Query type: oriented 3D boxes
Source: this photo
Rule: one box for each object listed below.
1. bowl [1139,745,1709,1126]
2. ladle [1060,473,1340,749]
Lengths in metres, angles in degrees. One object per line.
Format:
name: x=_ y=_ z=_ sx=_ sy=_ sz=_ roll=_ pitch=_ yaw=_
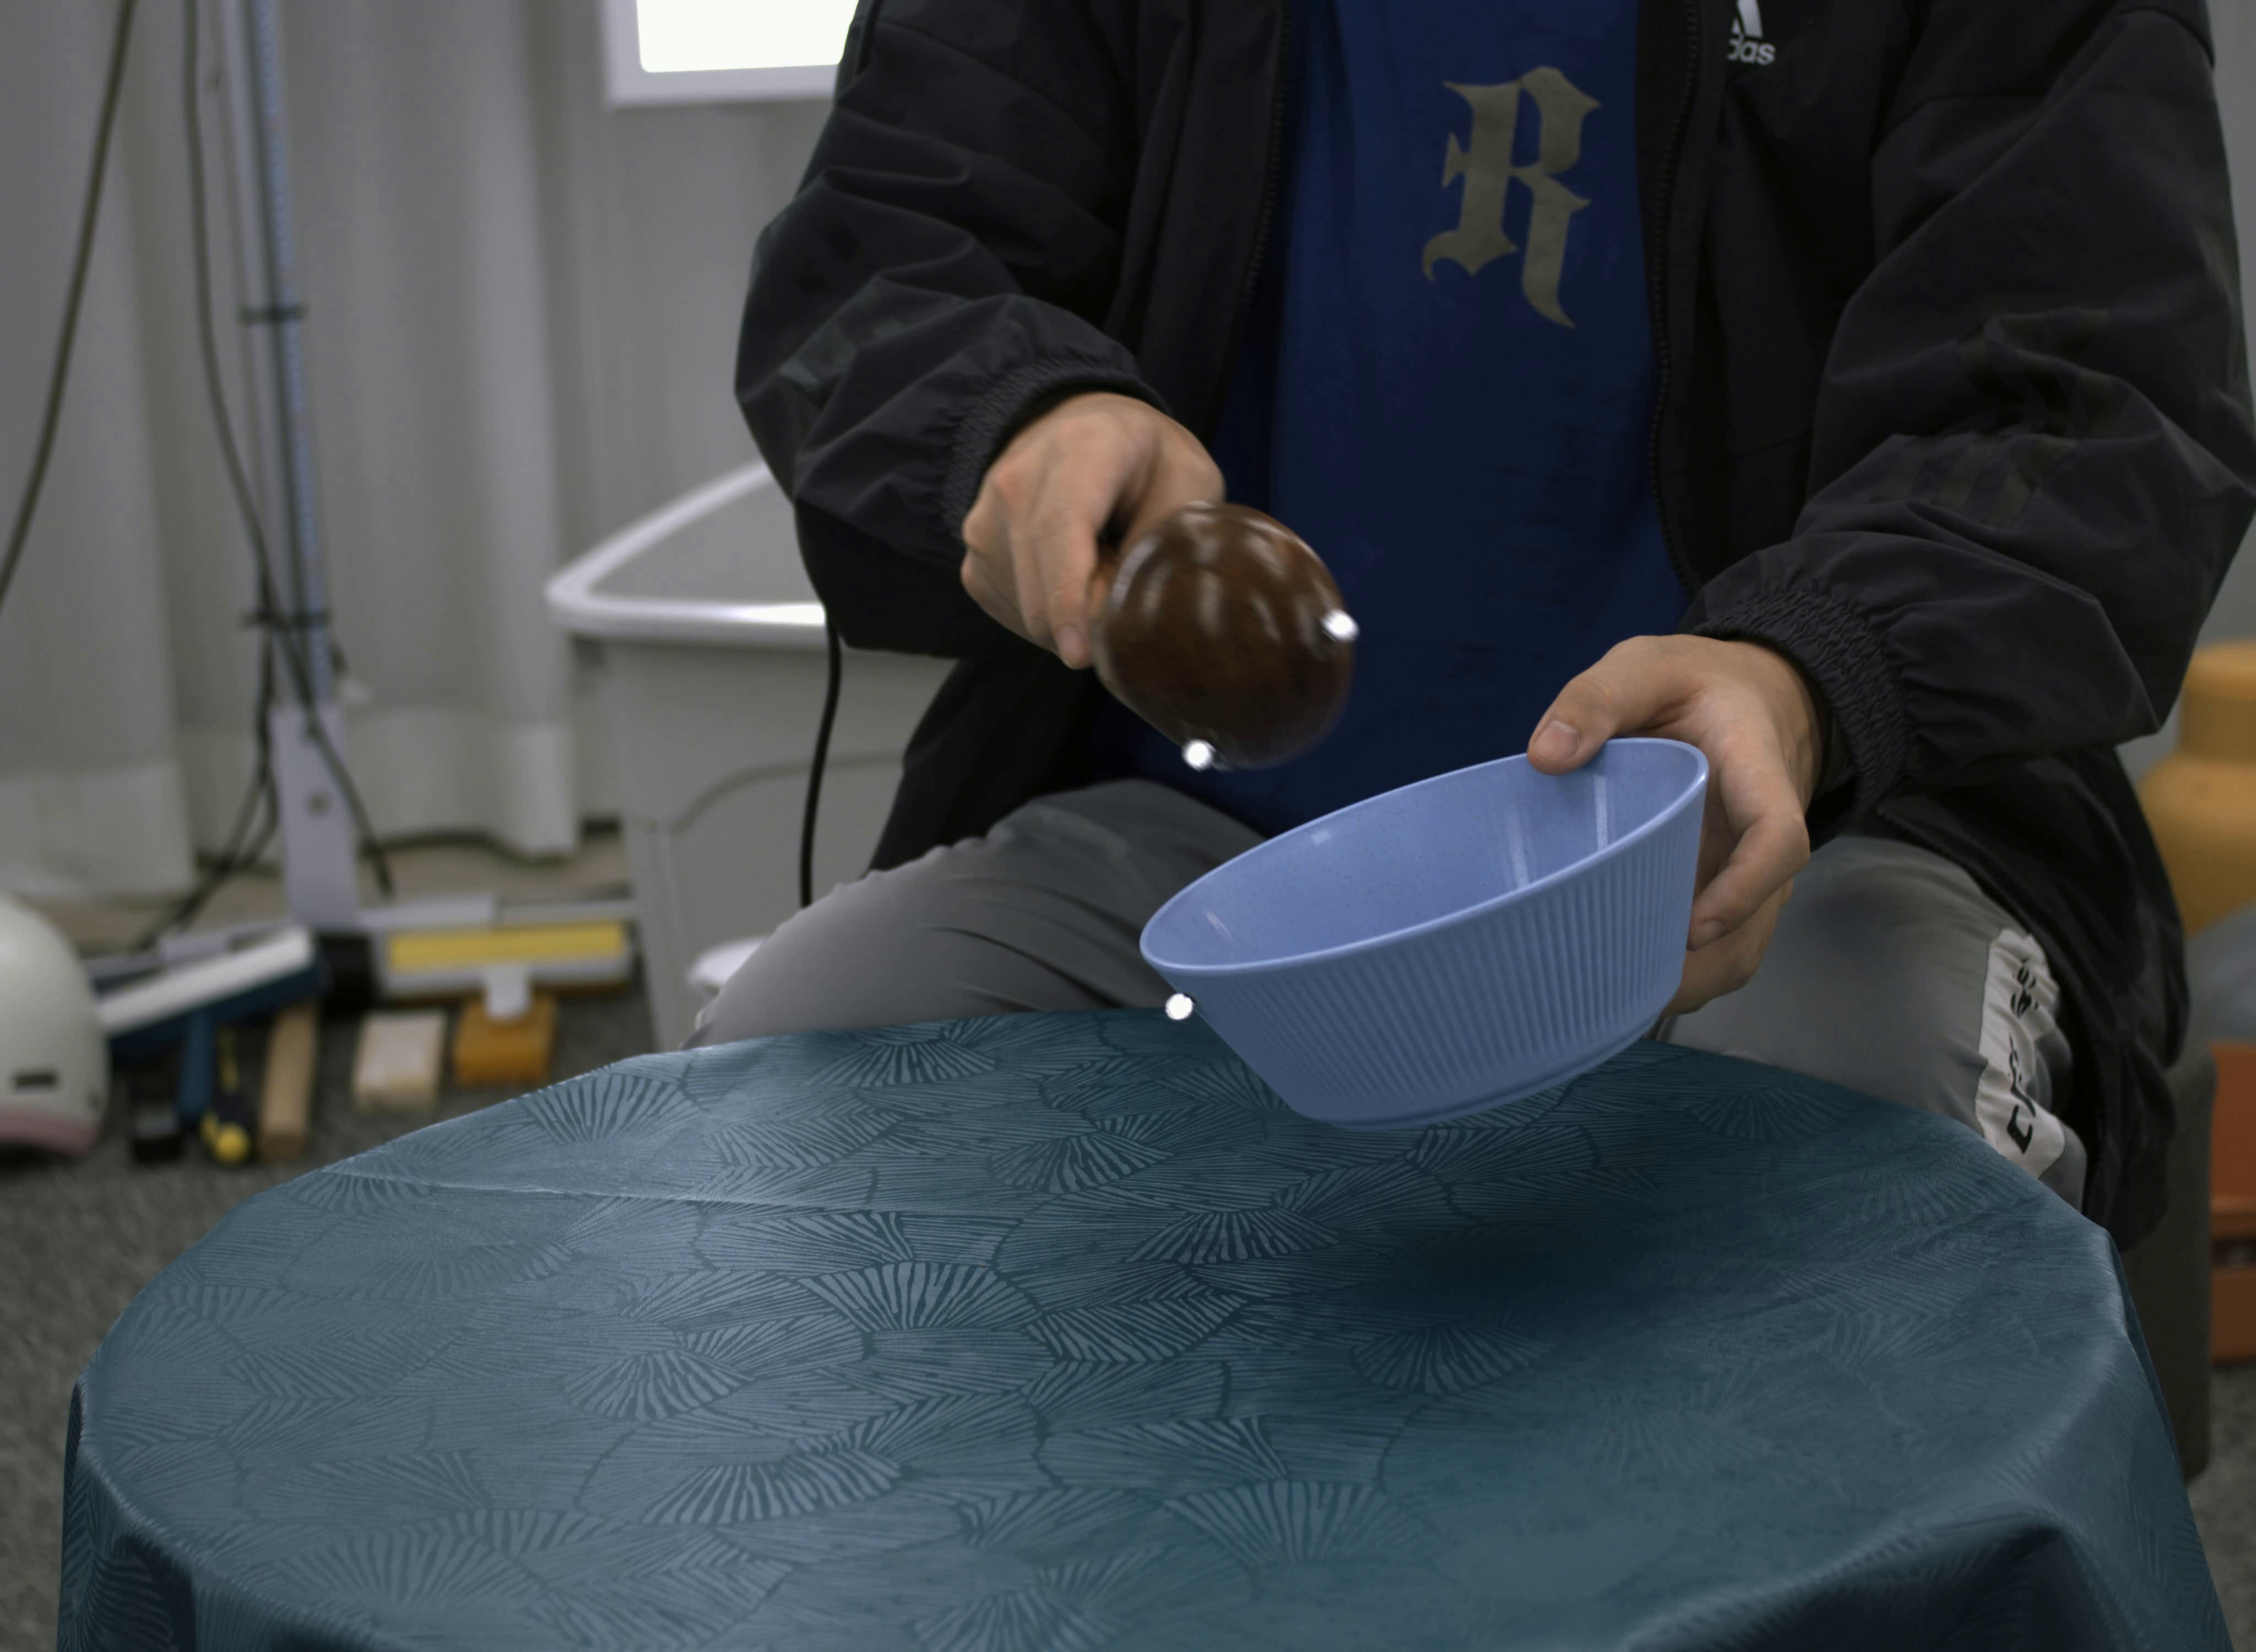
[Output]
bowl: x=0.096 y=0.037 z=1.615 sx=0.175 sy=0.070 sz=0.177 roll=-18 pitch=11 yaw=3
ladle: x=0.019 y=-0.076 z=1.709 sx=0.076 sy=0.082 sz=0.275 roll=-11 pitch=8 yaw=-1
